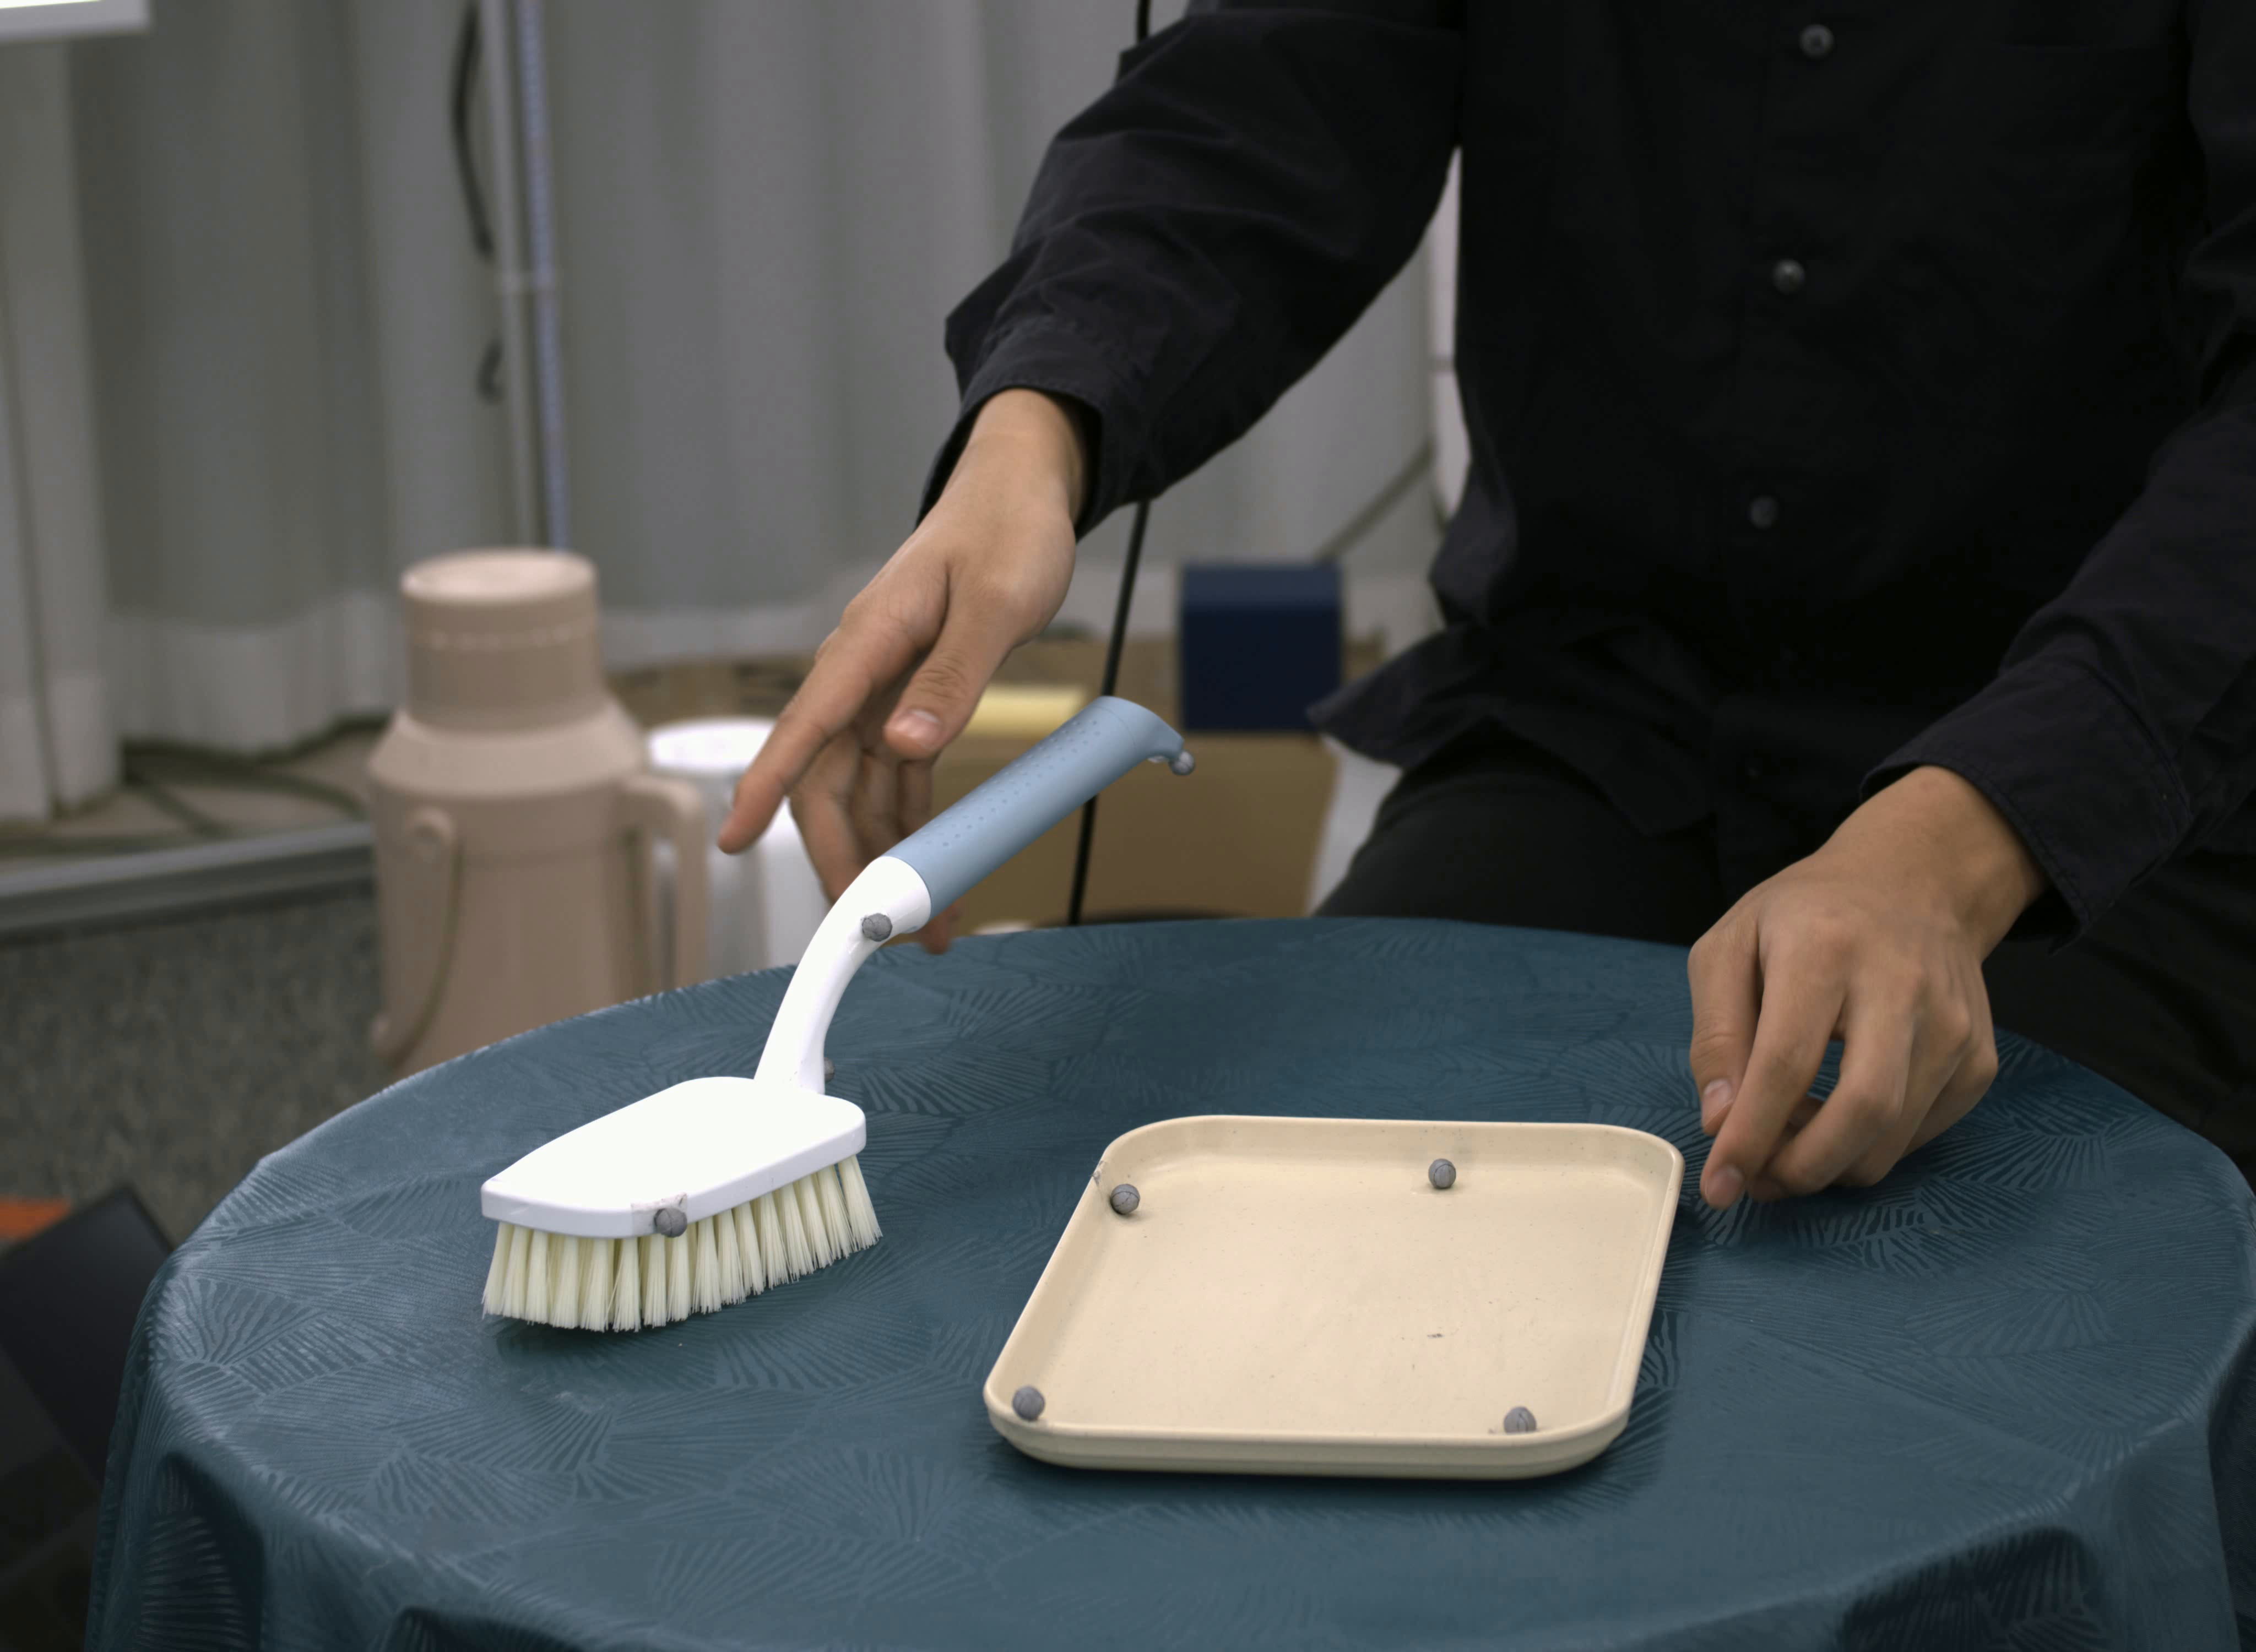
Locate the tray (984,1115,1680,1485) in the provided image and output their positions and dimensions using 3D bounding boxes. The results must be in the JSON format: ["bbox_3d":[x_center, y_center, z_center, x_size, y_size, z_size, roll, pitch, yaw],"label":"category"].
[{"bbox_3d":[0.061,0.128,1.453,0.172,0.017,0.238,1,17,11],"label":"tray"}]

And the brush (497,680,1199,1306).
[{"bbox_3d":[-0.068,0.063,1.579,0.084,0.085,0.320,41,46,13],"label":"brush"}]
